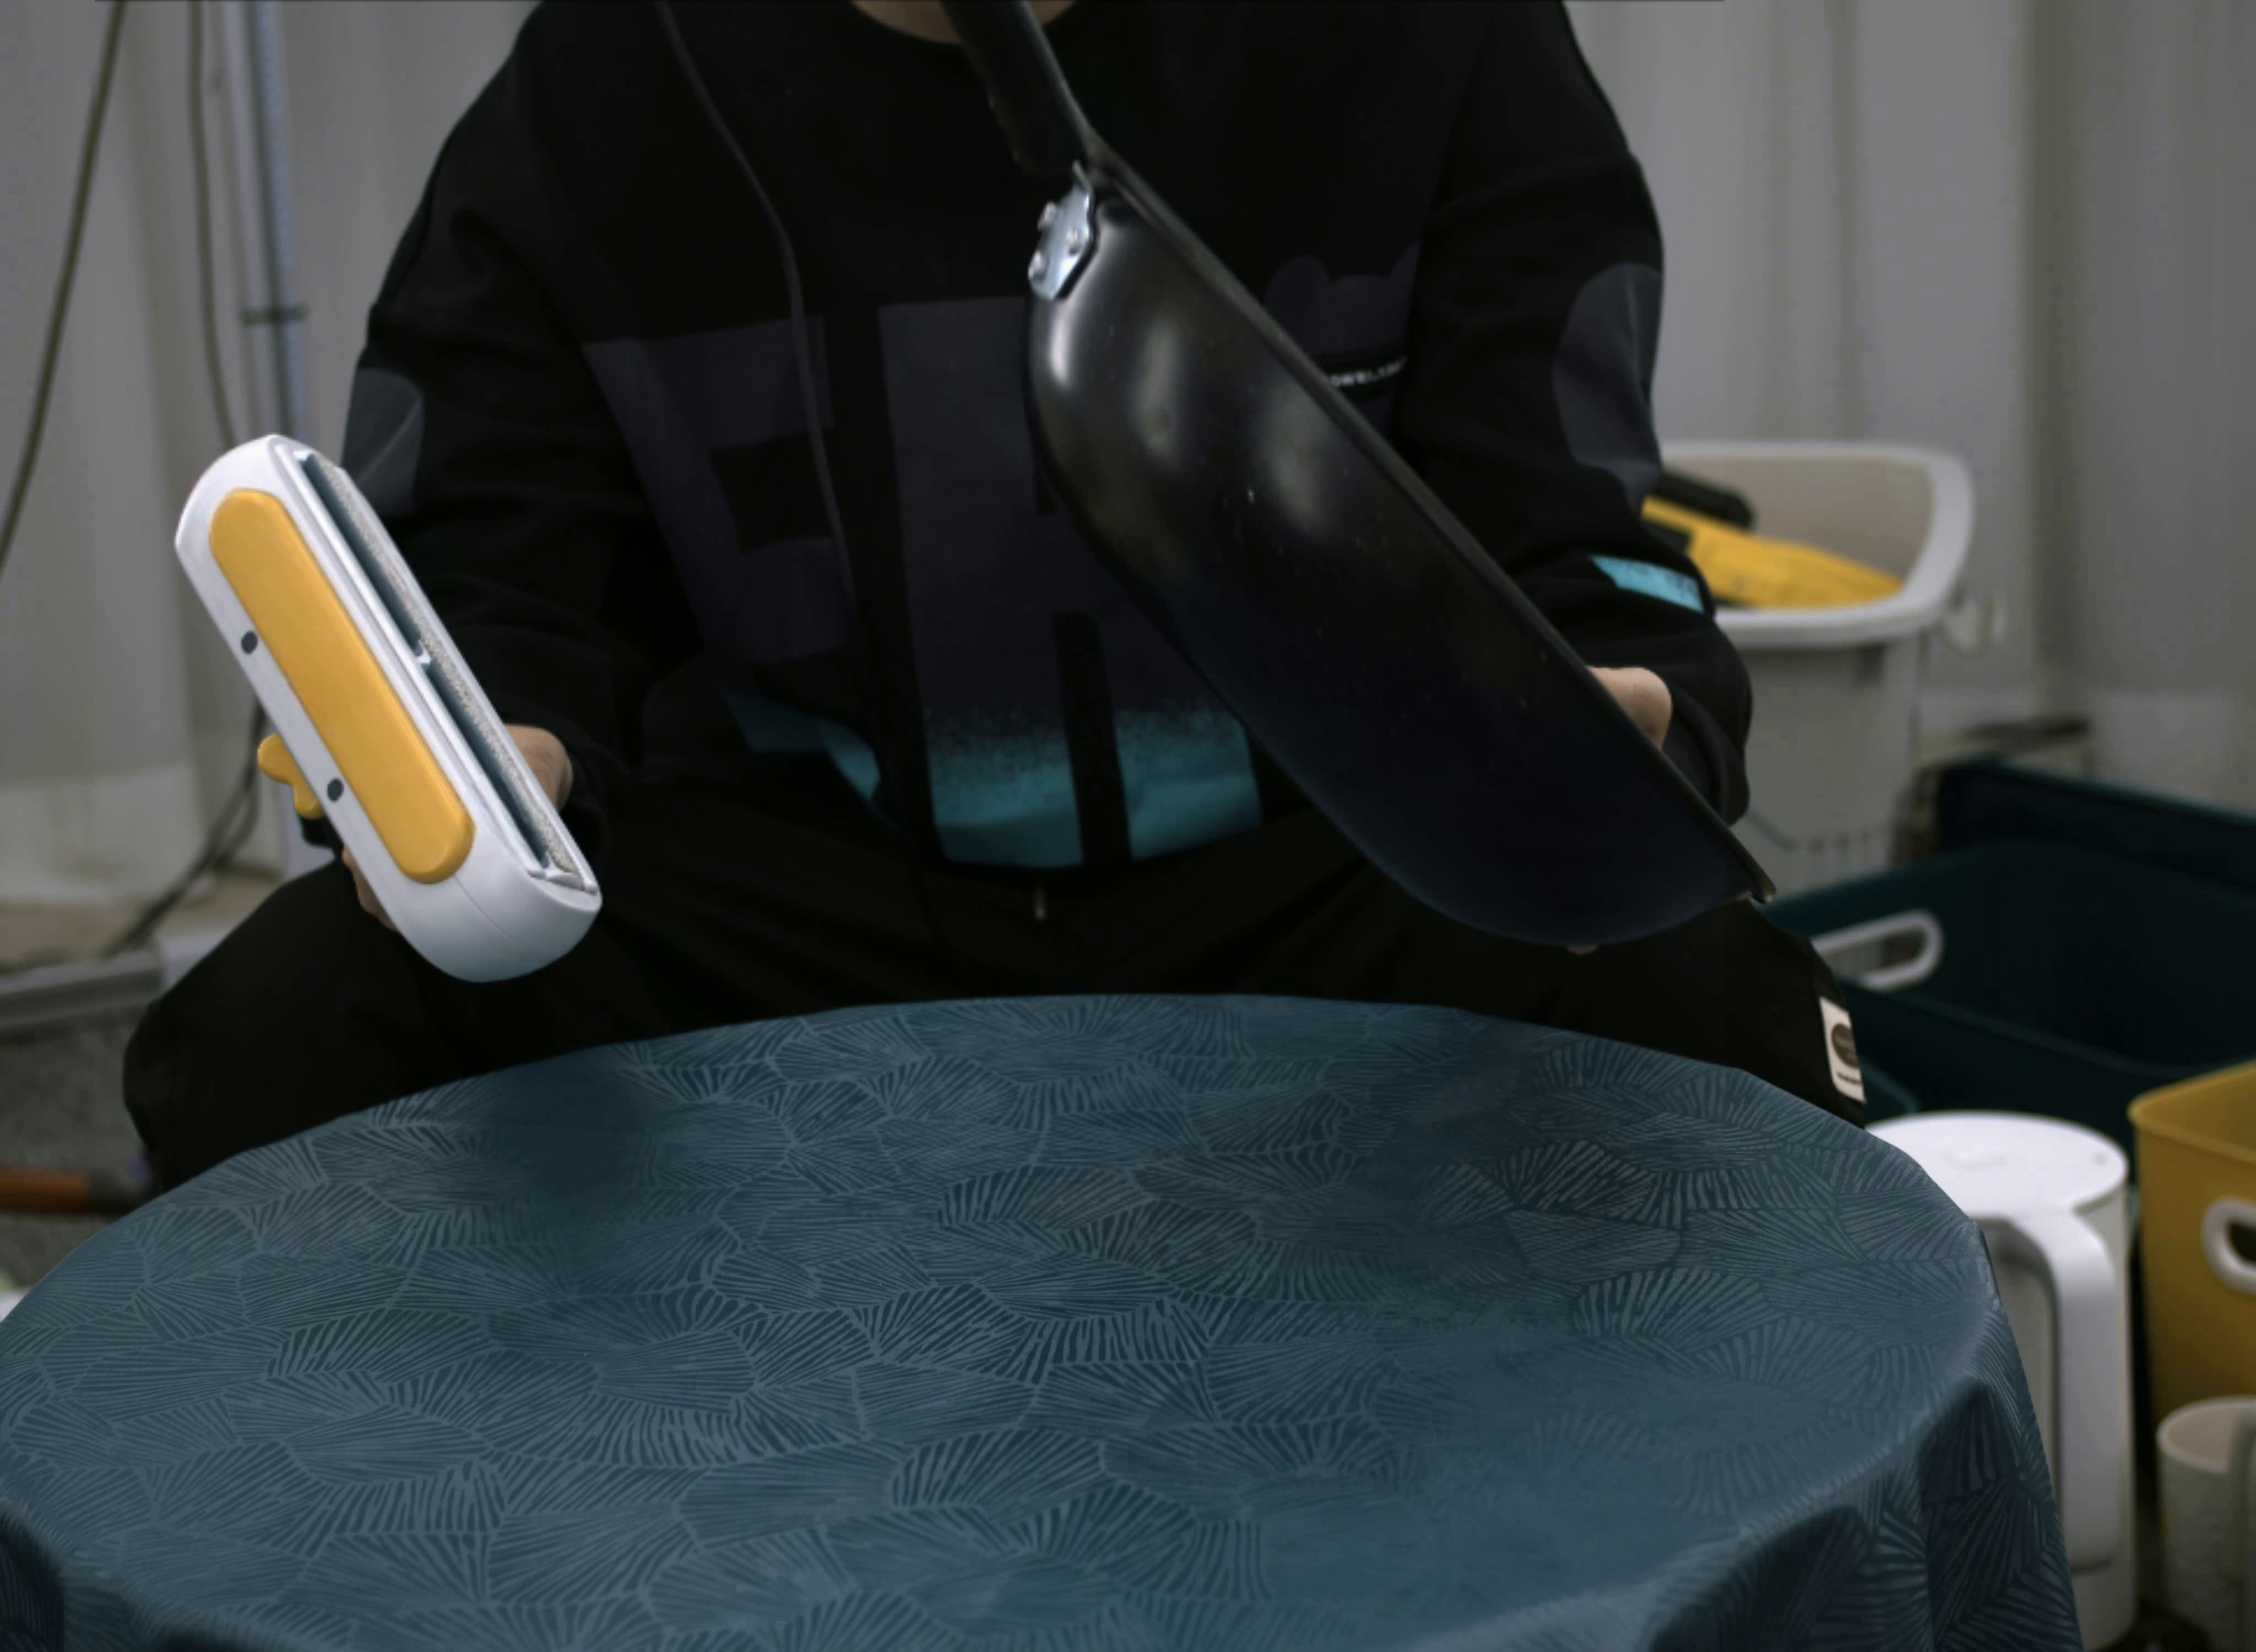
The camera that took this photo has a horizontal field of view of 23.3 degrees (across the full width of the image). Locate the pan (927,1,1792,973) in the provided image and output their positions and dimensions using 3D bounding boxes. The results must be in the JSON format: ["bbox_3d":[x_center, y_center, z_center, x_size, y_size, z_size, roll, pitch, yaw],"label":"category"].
[{"bbox_3d":[0.021,-0.123,1.637,0.111,0.473,0.313,-43,20,2],"label":"pan"}]

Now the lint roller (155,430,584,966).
[{"bbox_3d":[-0.220,-0.019,1.735,0.074,0.195,0.190,-40,-25,3],"label":"lint roller"}]
